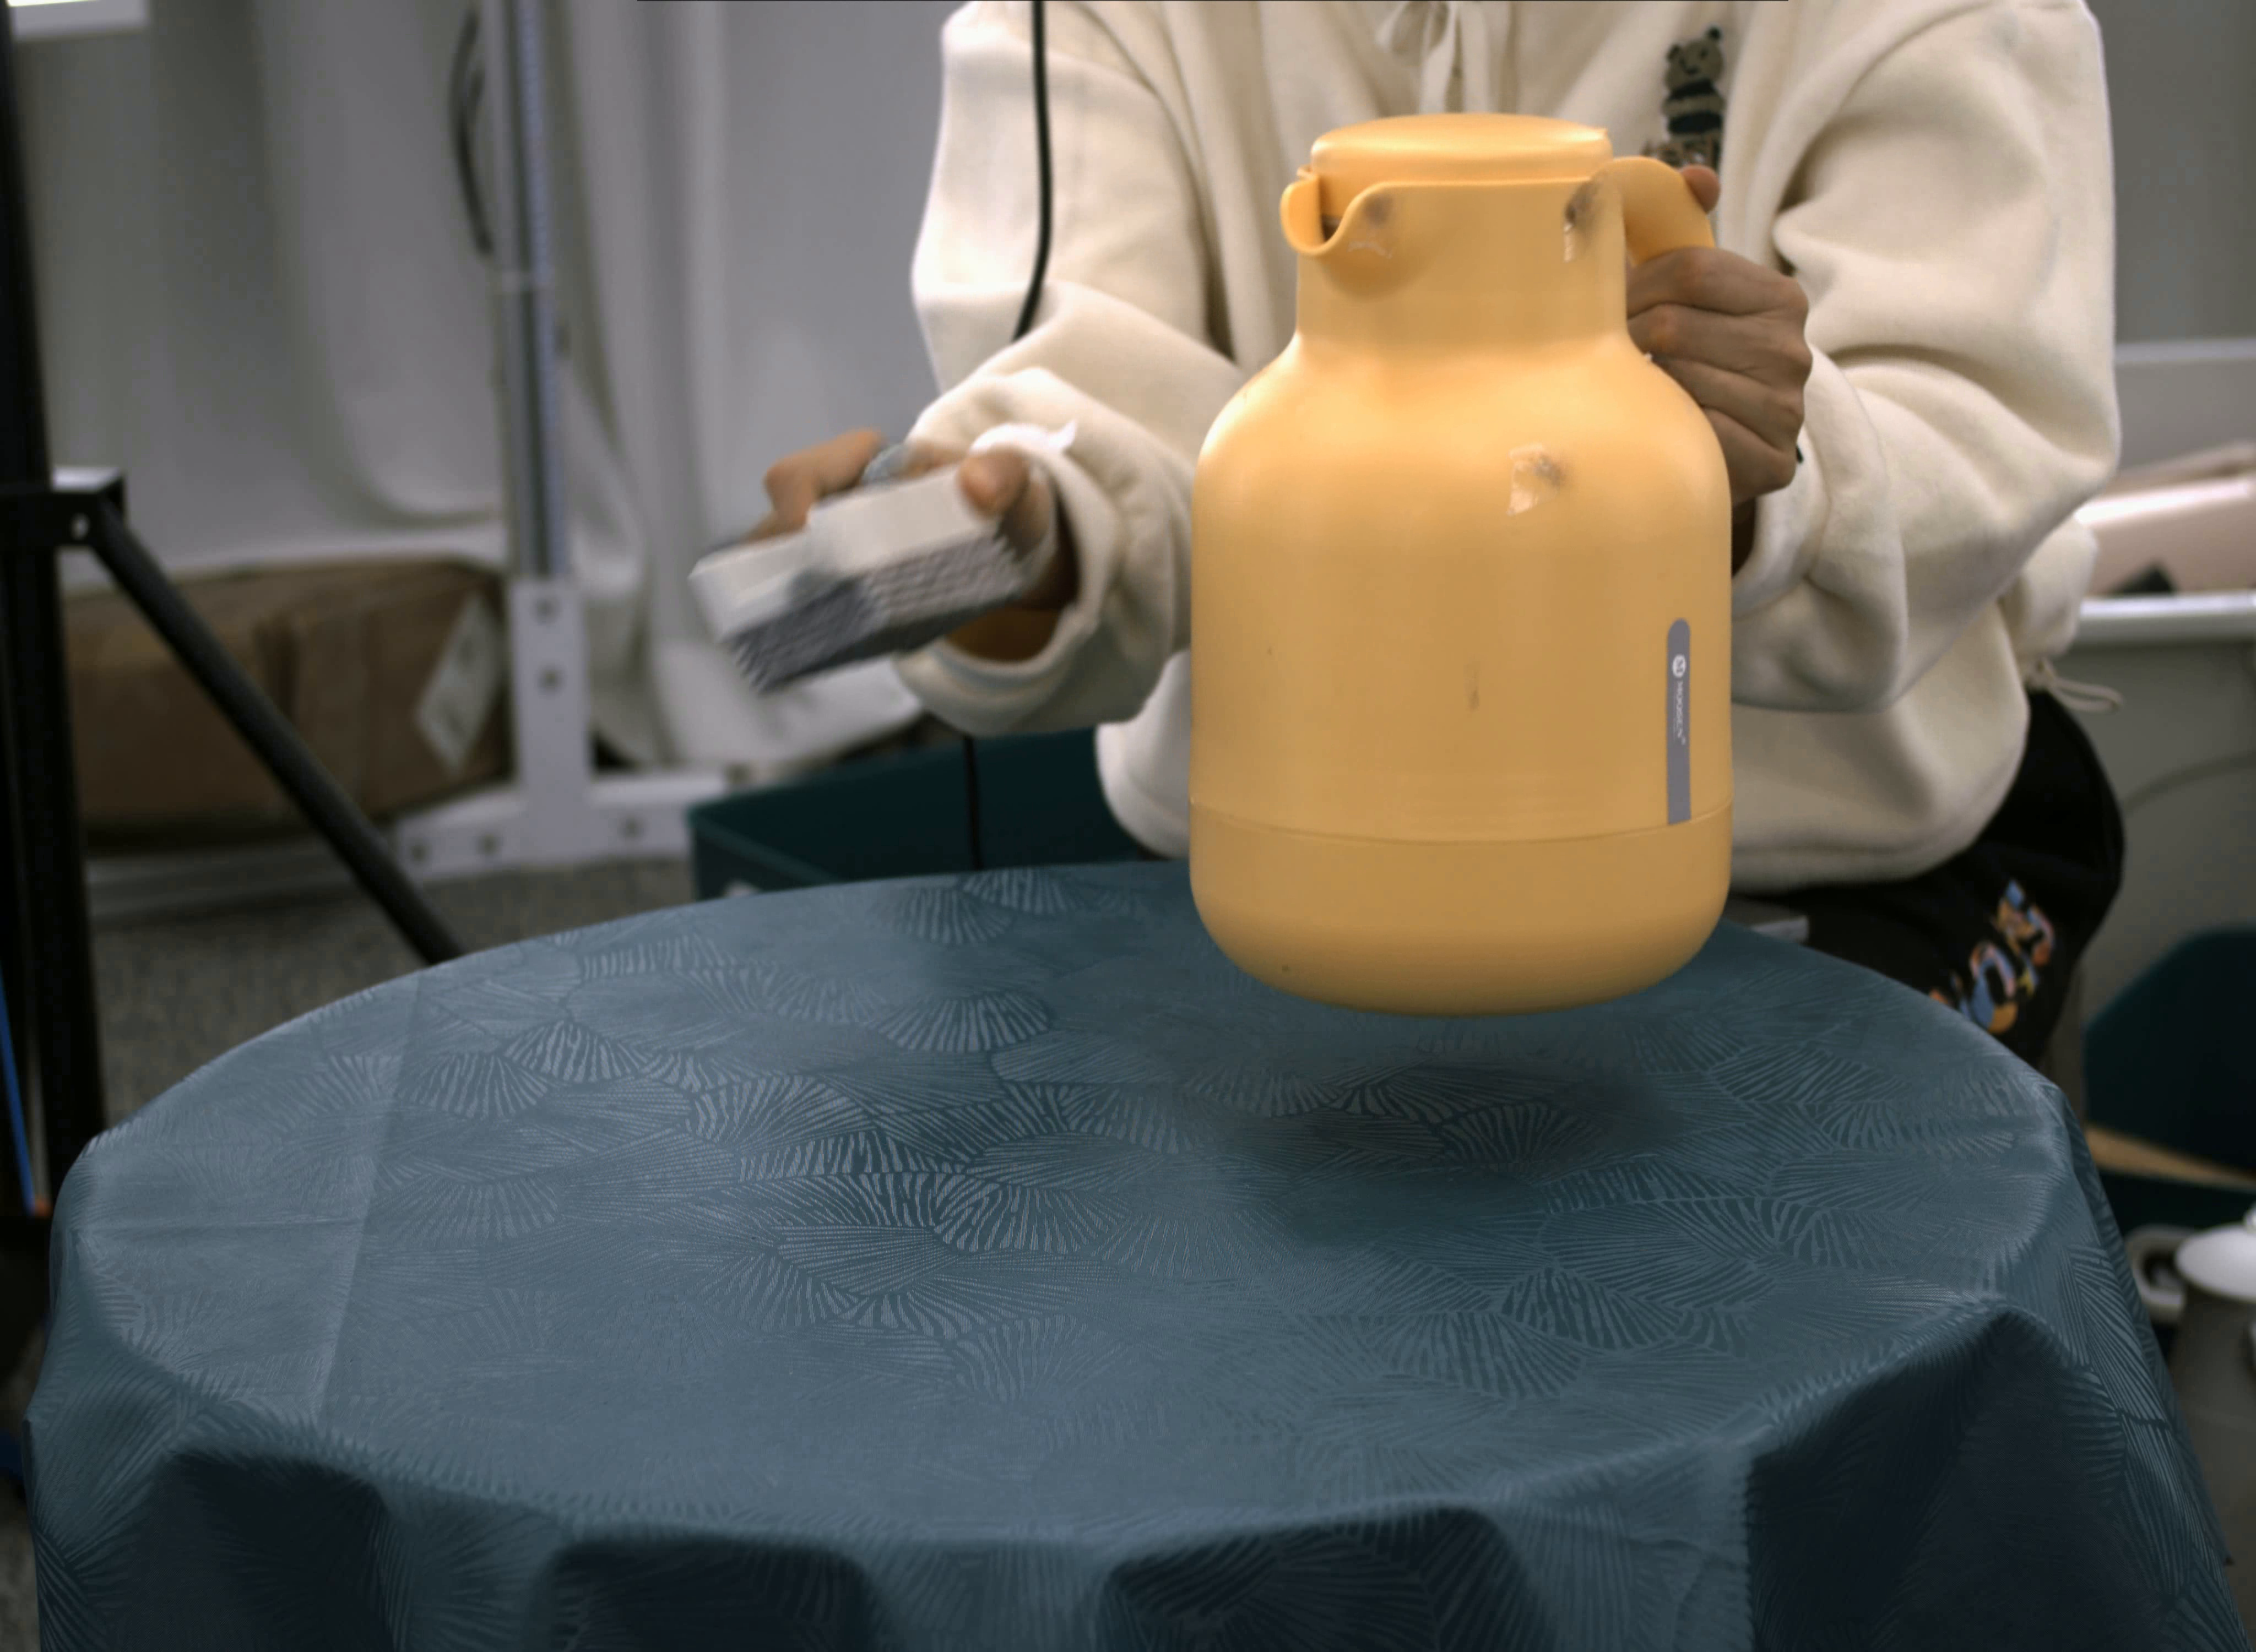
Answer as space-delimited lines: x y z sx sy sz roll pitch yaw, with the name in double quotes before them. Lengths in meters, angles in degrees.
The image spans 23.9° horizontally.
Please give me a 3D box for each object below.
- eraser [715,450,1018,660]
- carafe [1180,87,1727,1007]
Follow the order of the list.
"eraser" -0.076 -0.083 1.618 0.050 0.047 0.133 -29 -1 15
"carafe" 0.111 -0.088 1.590 0.167 0.260 0.197 14 19 41
